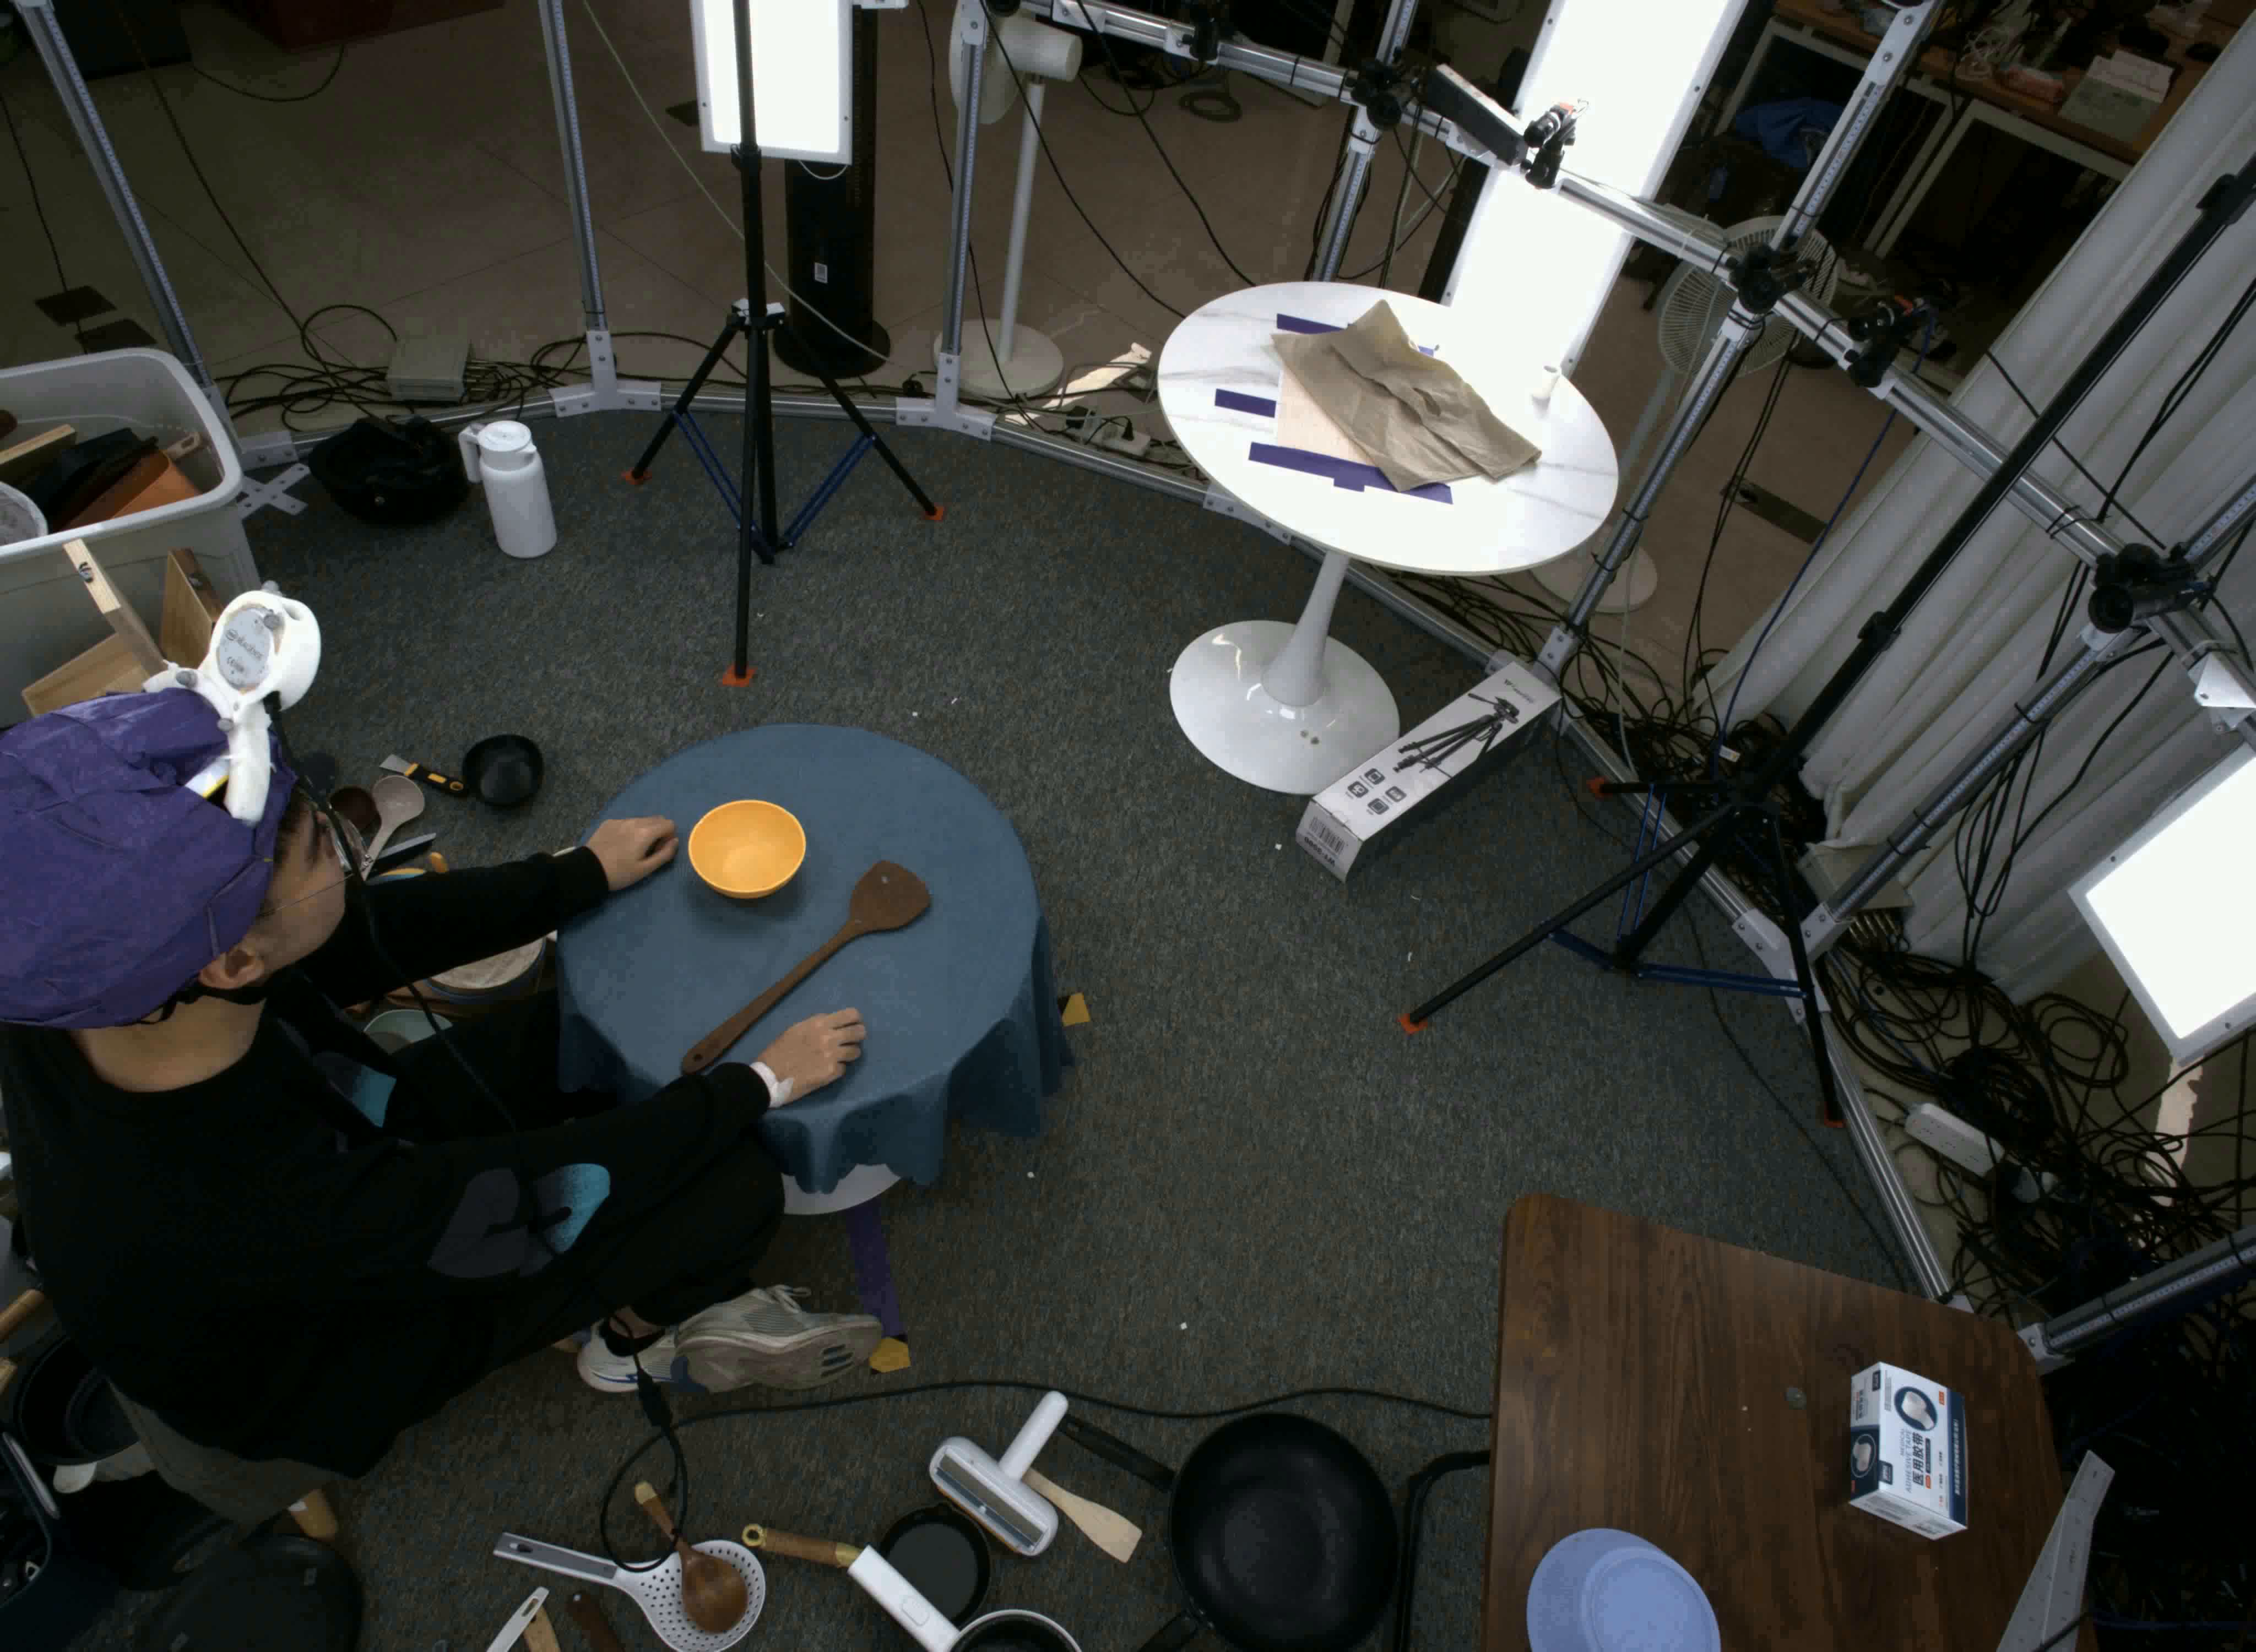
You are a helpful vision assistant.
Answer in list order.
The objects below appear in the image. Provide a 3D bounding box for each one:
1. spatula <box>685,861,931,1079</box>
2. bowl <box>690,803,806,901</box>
[{"bbox_3d":[-0.396,0.174,1.598,0.094,0.016,0.386,36,54,14],"label":"spatula"},{"bbox_3d":[-0.481,0.042,1.648,0.144,0.061,0.142,6,52,-6],"label":"bowl"}]
